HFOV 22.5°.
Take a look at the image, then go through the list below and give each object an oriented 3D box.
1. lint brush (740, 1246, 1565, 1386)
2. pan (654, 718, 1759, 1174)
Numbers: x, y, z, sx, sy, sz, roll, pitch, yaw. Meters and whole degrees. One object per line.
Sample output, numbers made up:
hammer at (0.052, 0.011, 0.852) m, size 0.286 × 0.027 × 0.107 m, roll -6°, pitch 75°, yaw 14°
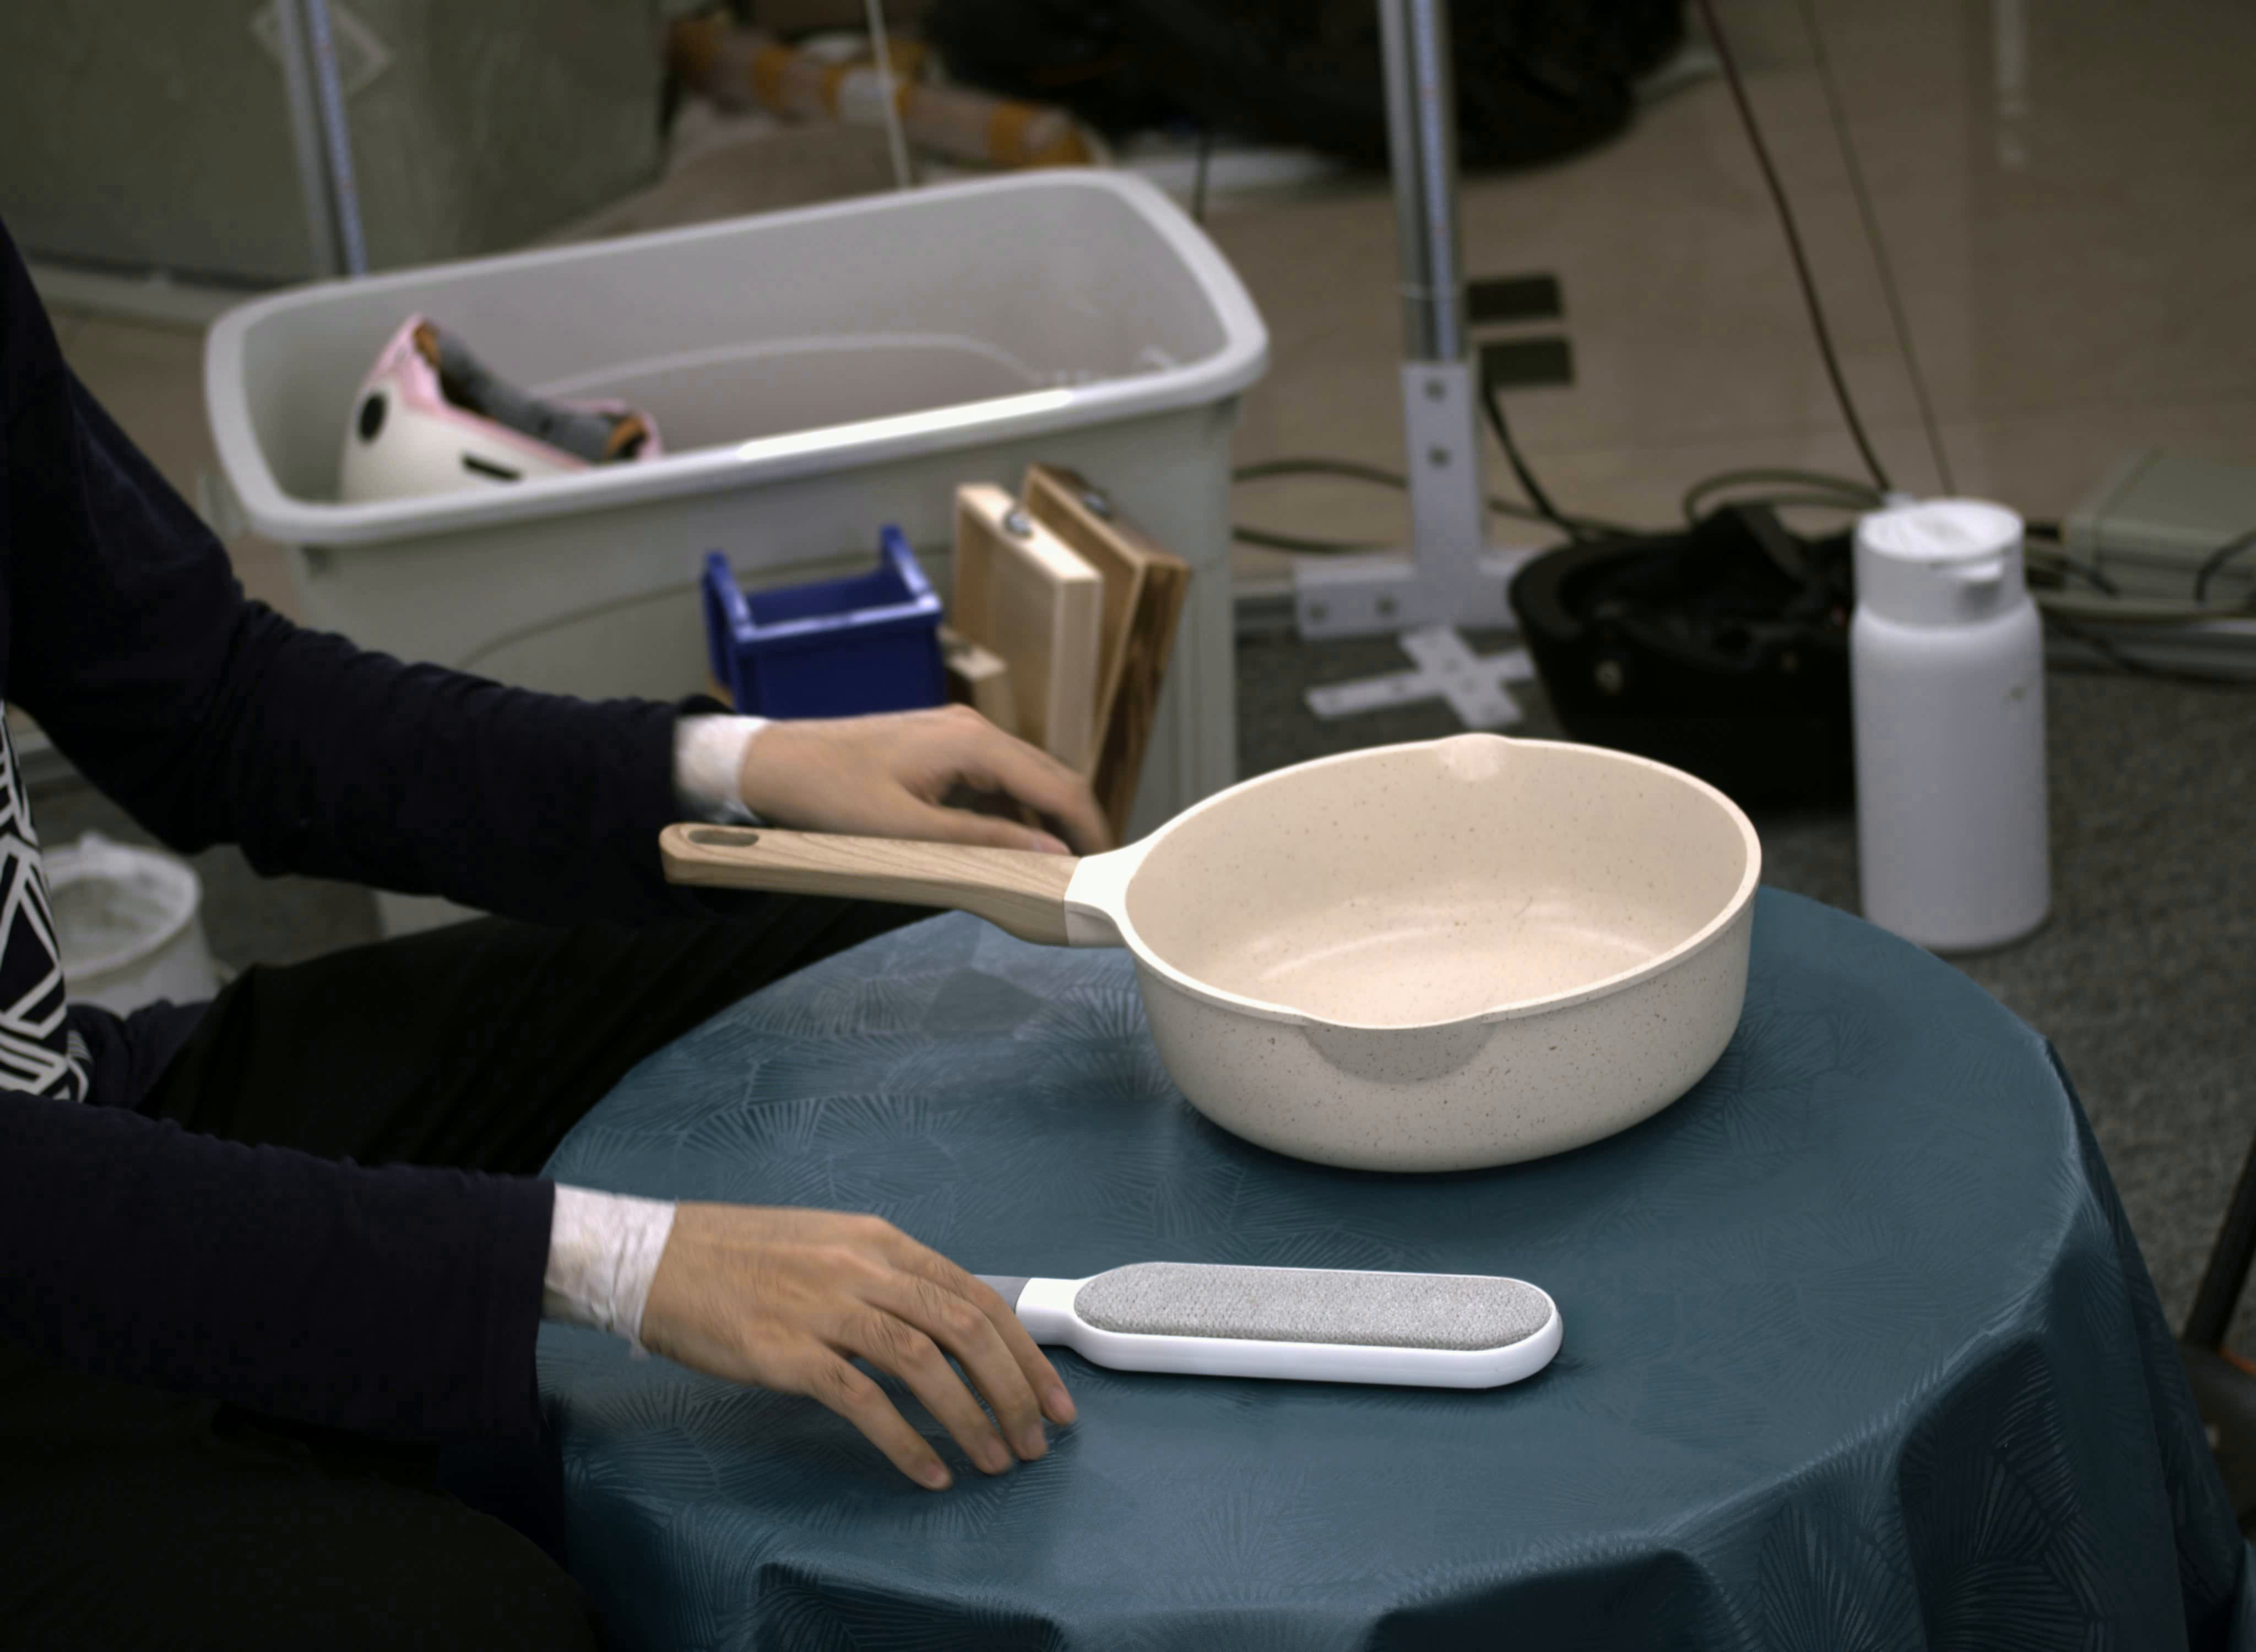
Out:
lint brush at (0.005, 0.173, 2.044) m, size 0.308 × 0.021 × 0.059 m, roll 2°, pitch 31°, yaw 18°
pan at (0.031, 0.047, 2.224) m, size 0.434 × 0.104 × 0.259 m, roll -1°, pitch 28°, yaw 11°
